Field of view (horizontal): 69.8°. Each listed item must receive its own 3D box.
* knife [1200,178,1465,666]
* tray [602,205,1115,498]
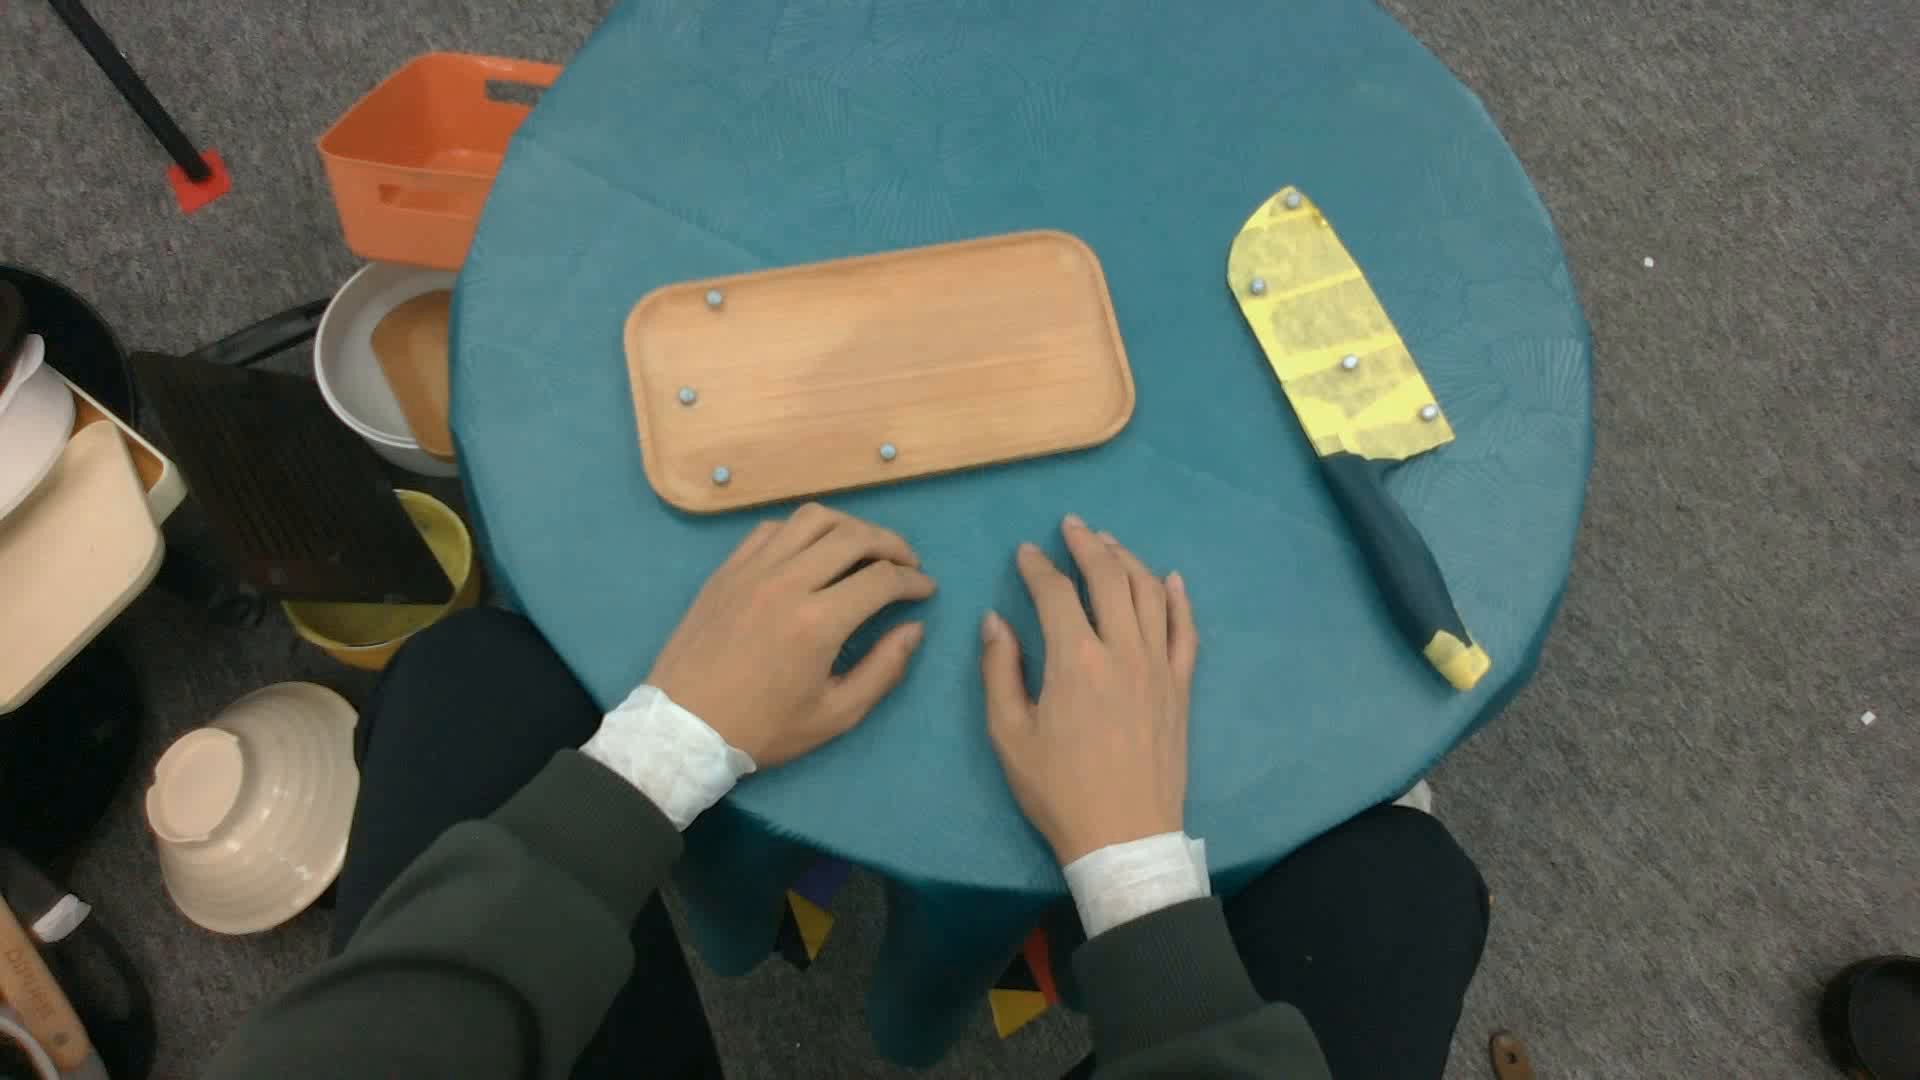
[{"bbox_3d":[0.201,-0.072,0.719,0.081,0.027,0.290,-17,71,-9],"label":"knife"},{"bbox_3d":[-0.051,-0.099,0.705,0.251,0.023,0.131,-11,74,-10],"label":"tray"}]
